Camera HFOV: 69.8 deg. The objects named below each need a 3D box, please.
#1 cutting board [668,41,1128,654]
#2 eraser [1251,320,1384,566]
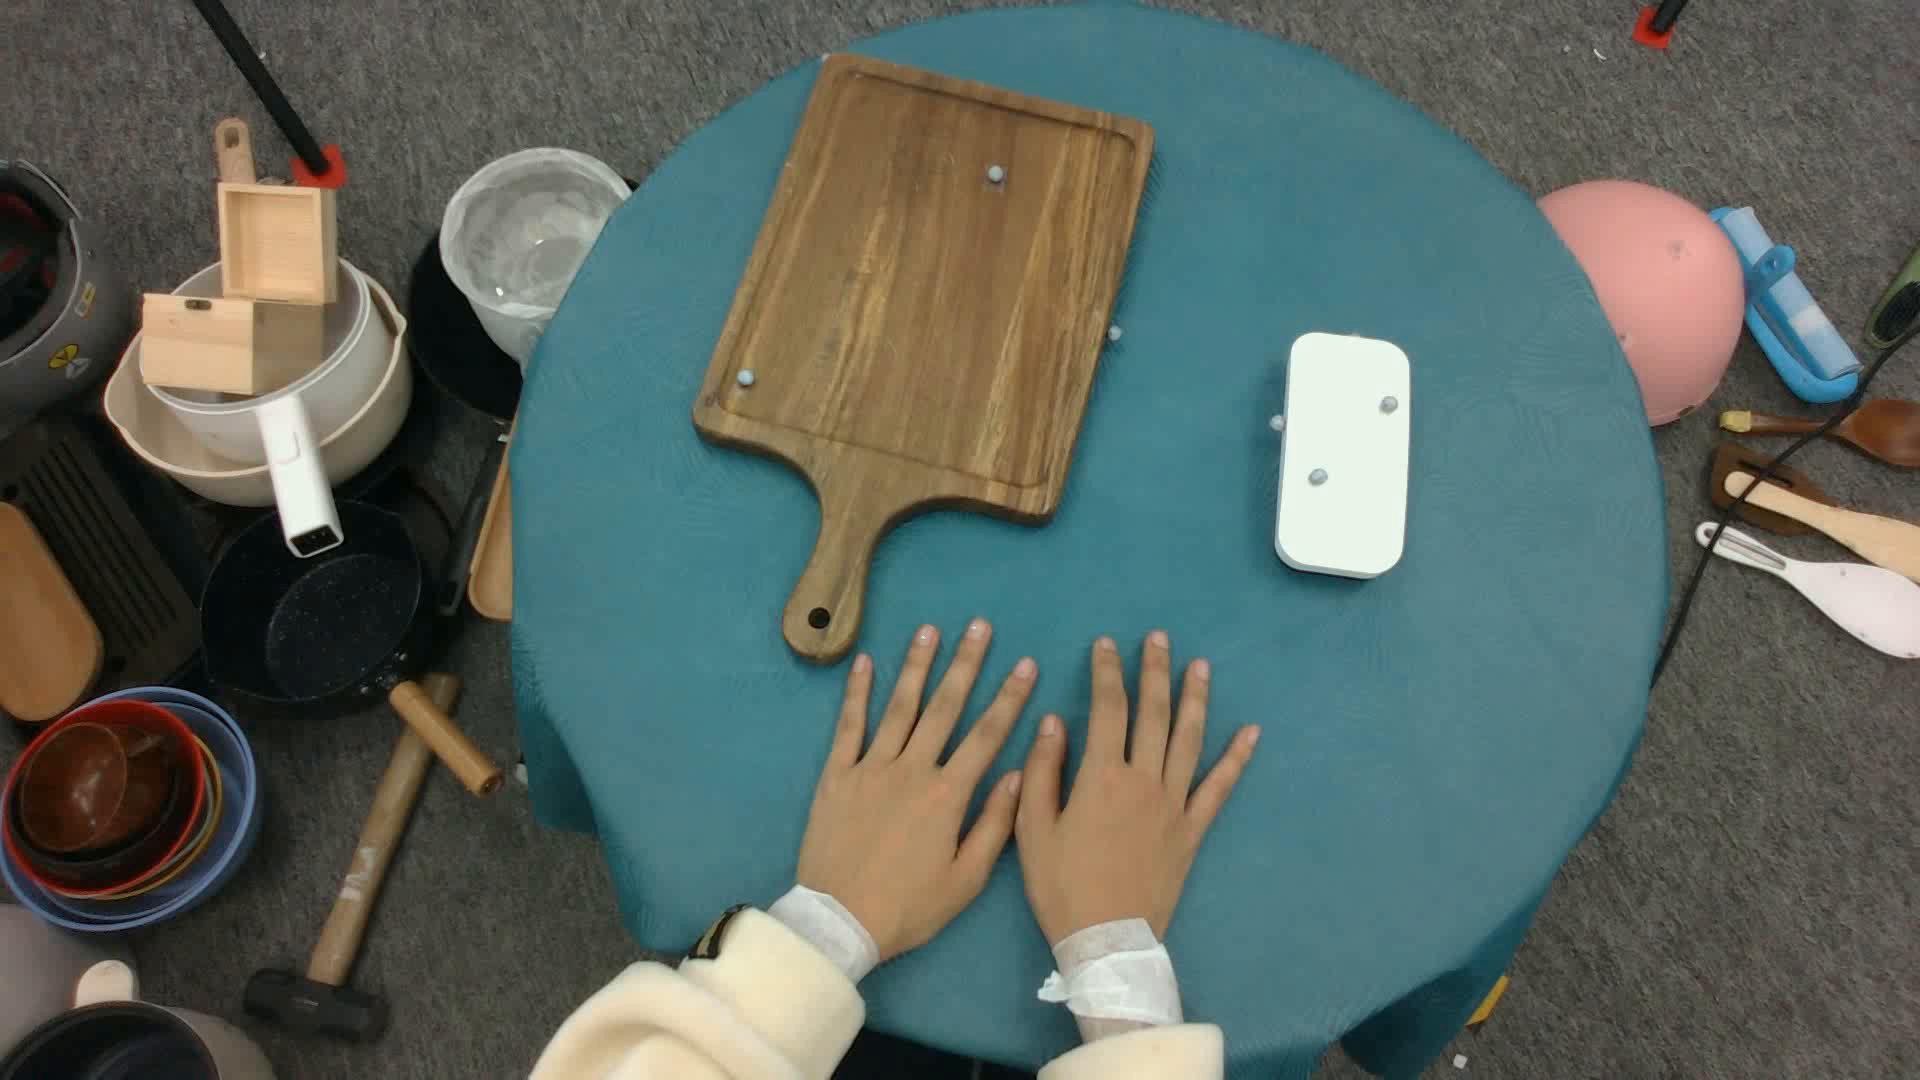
[{"bbox_3d":[-0.039,-0.107,0.728,0.201,0.023,0.353,14,69,4],"label":"cutting board"},{"bbox_3d":[0.183,-0.052,0.710,0.063,0.034,0.132,10,68,1],"label":"eraser"}]
